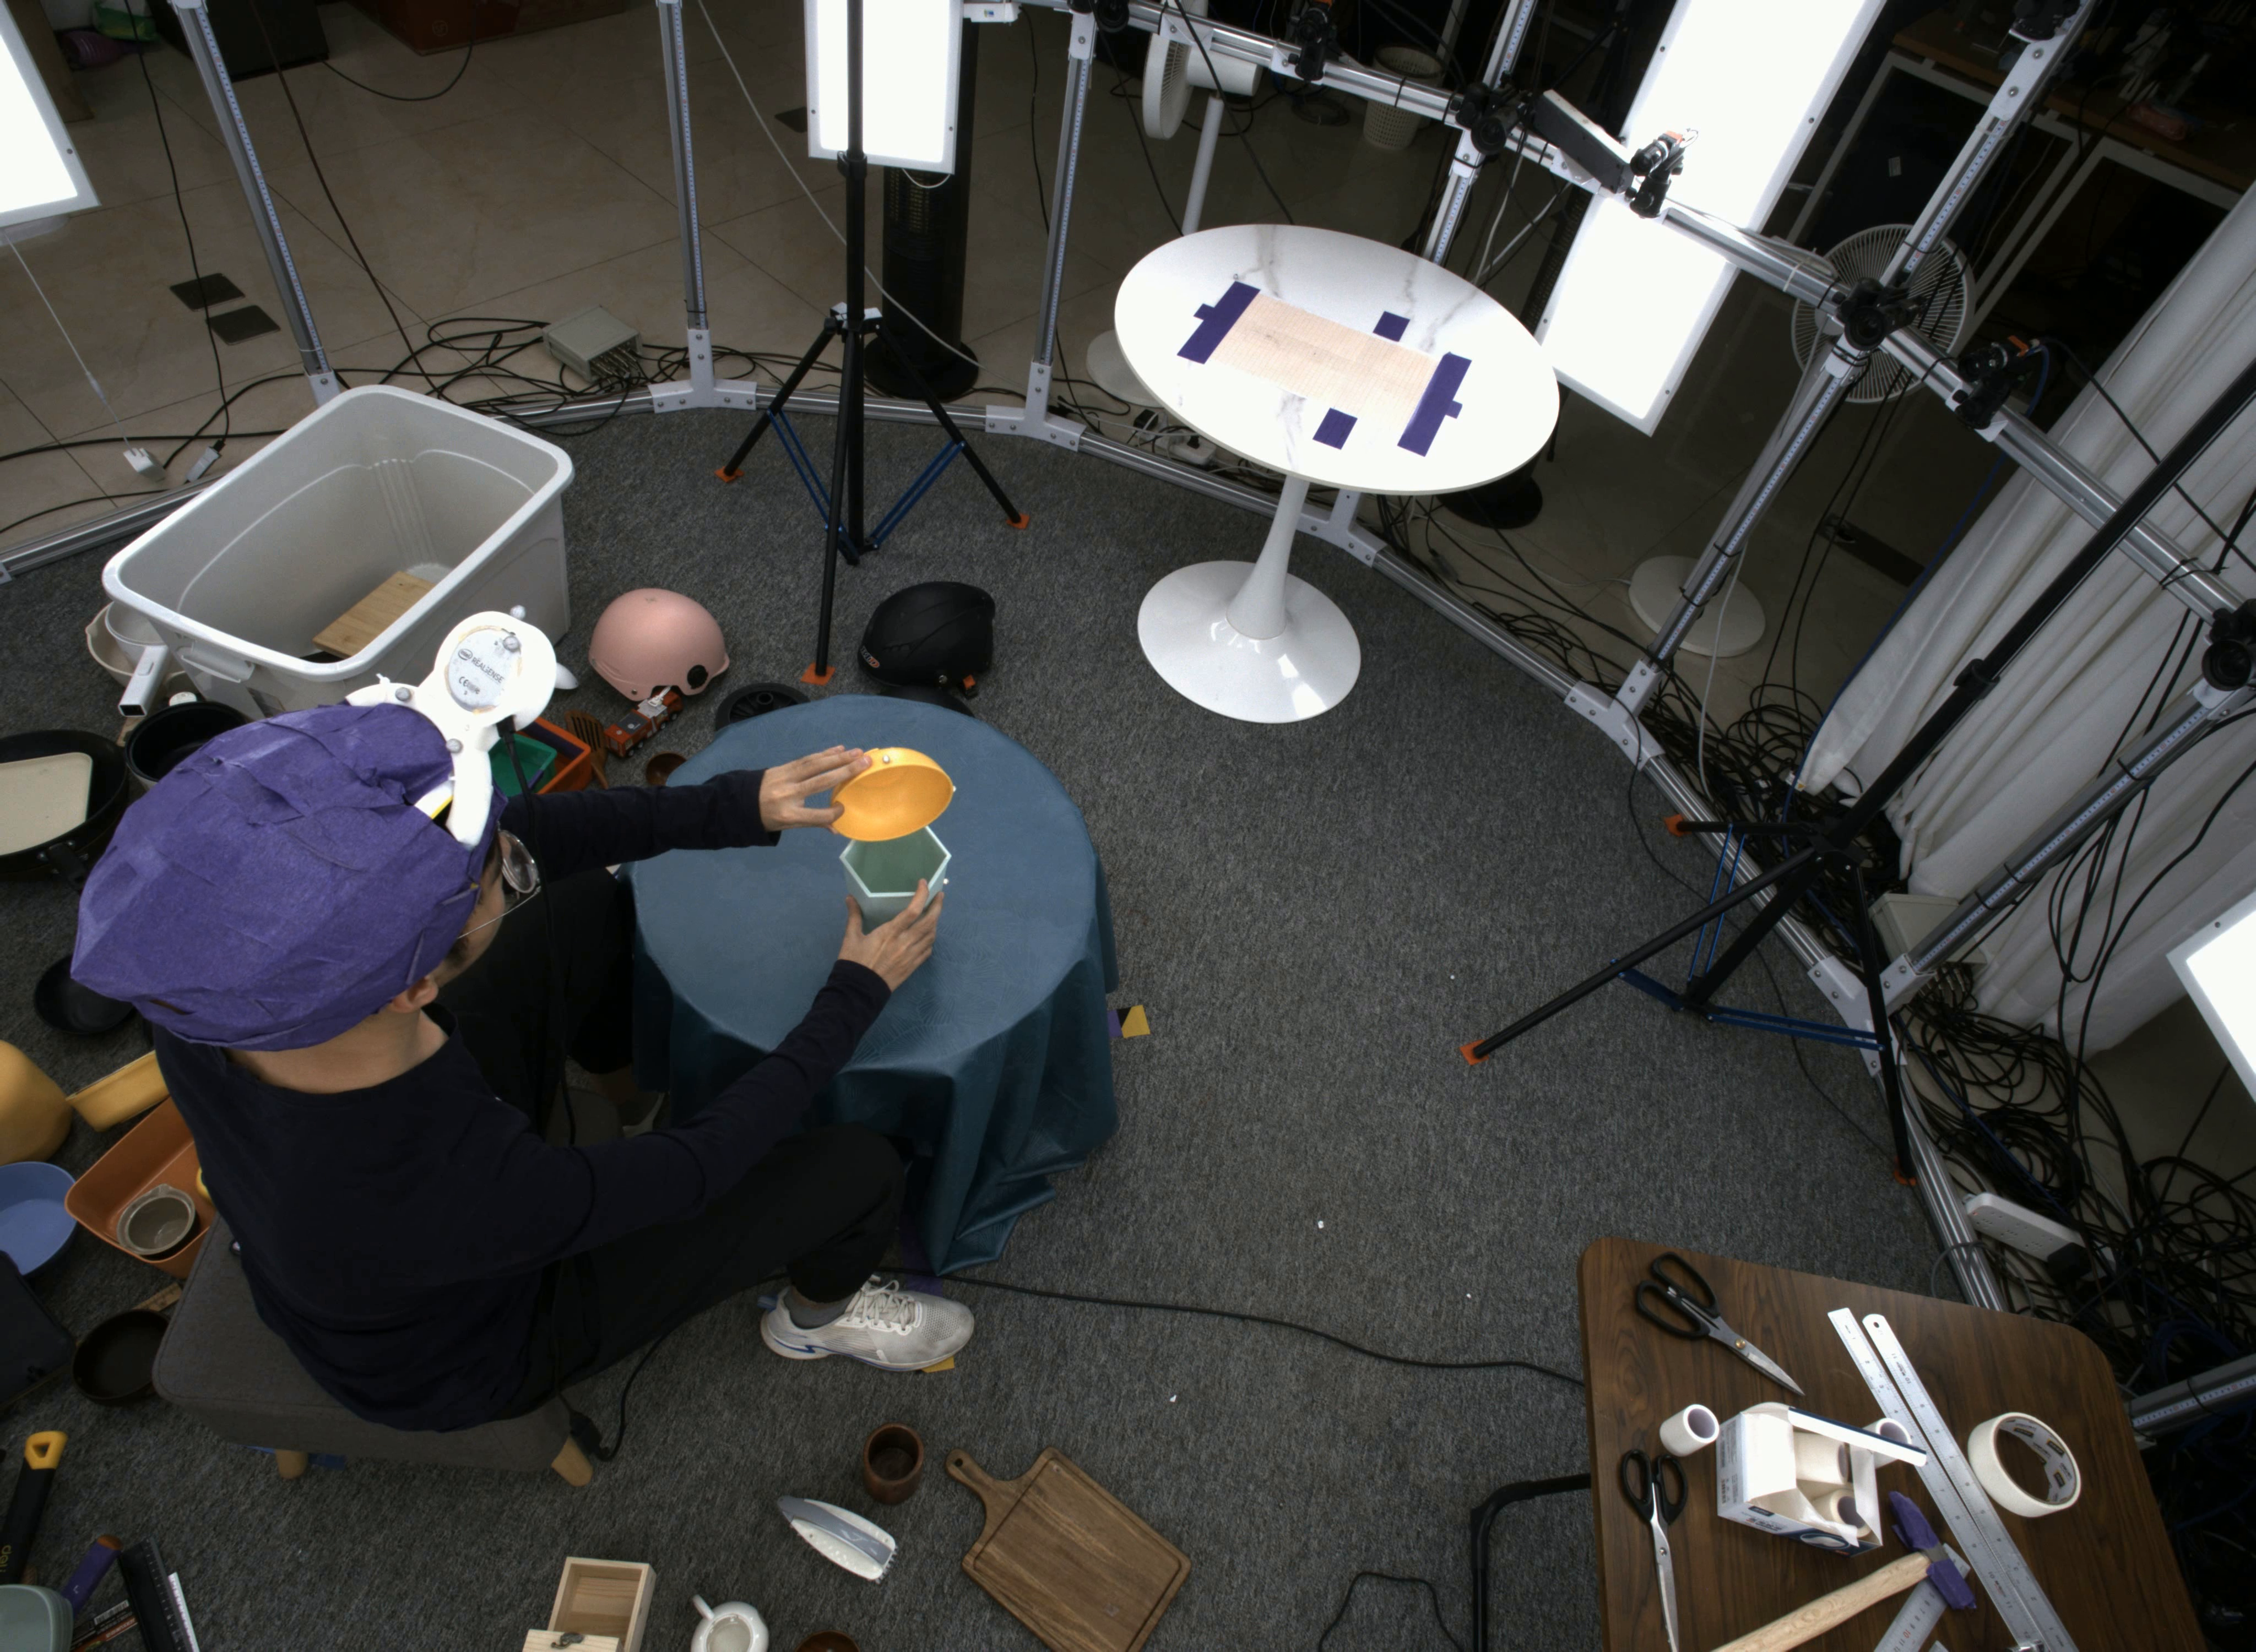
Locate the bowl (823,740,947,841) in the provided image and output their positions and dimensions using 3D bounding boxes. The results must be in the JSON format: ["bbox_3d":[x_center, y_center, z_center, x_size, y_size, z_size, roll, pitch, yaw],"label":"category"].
[{"bbox_3d":[-0.285,-0.053,1.493,0.146,0.148,0.058,-11,55,-20],"label":"bowl"}]

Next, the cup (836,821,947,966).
[{"bbox_3d":[-0.287,0.080,1.594,0.115,0.167,0.128,-31,63,-29],"label":"cup"}]
